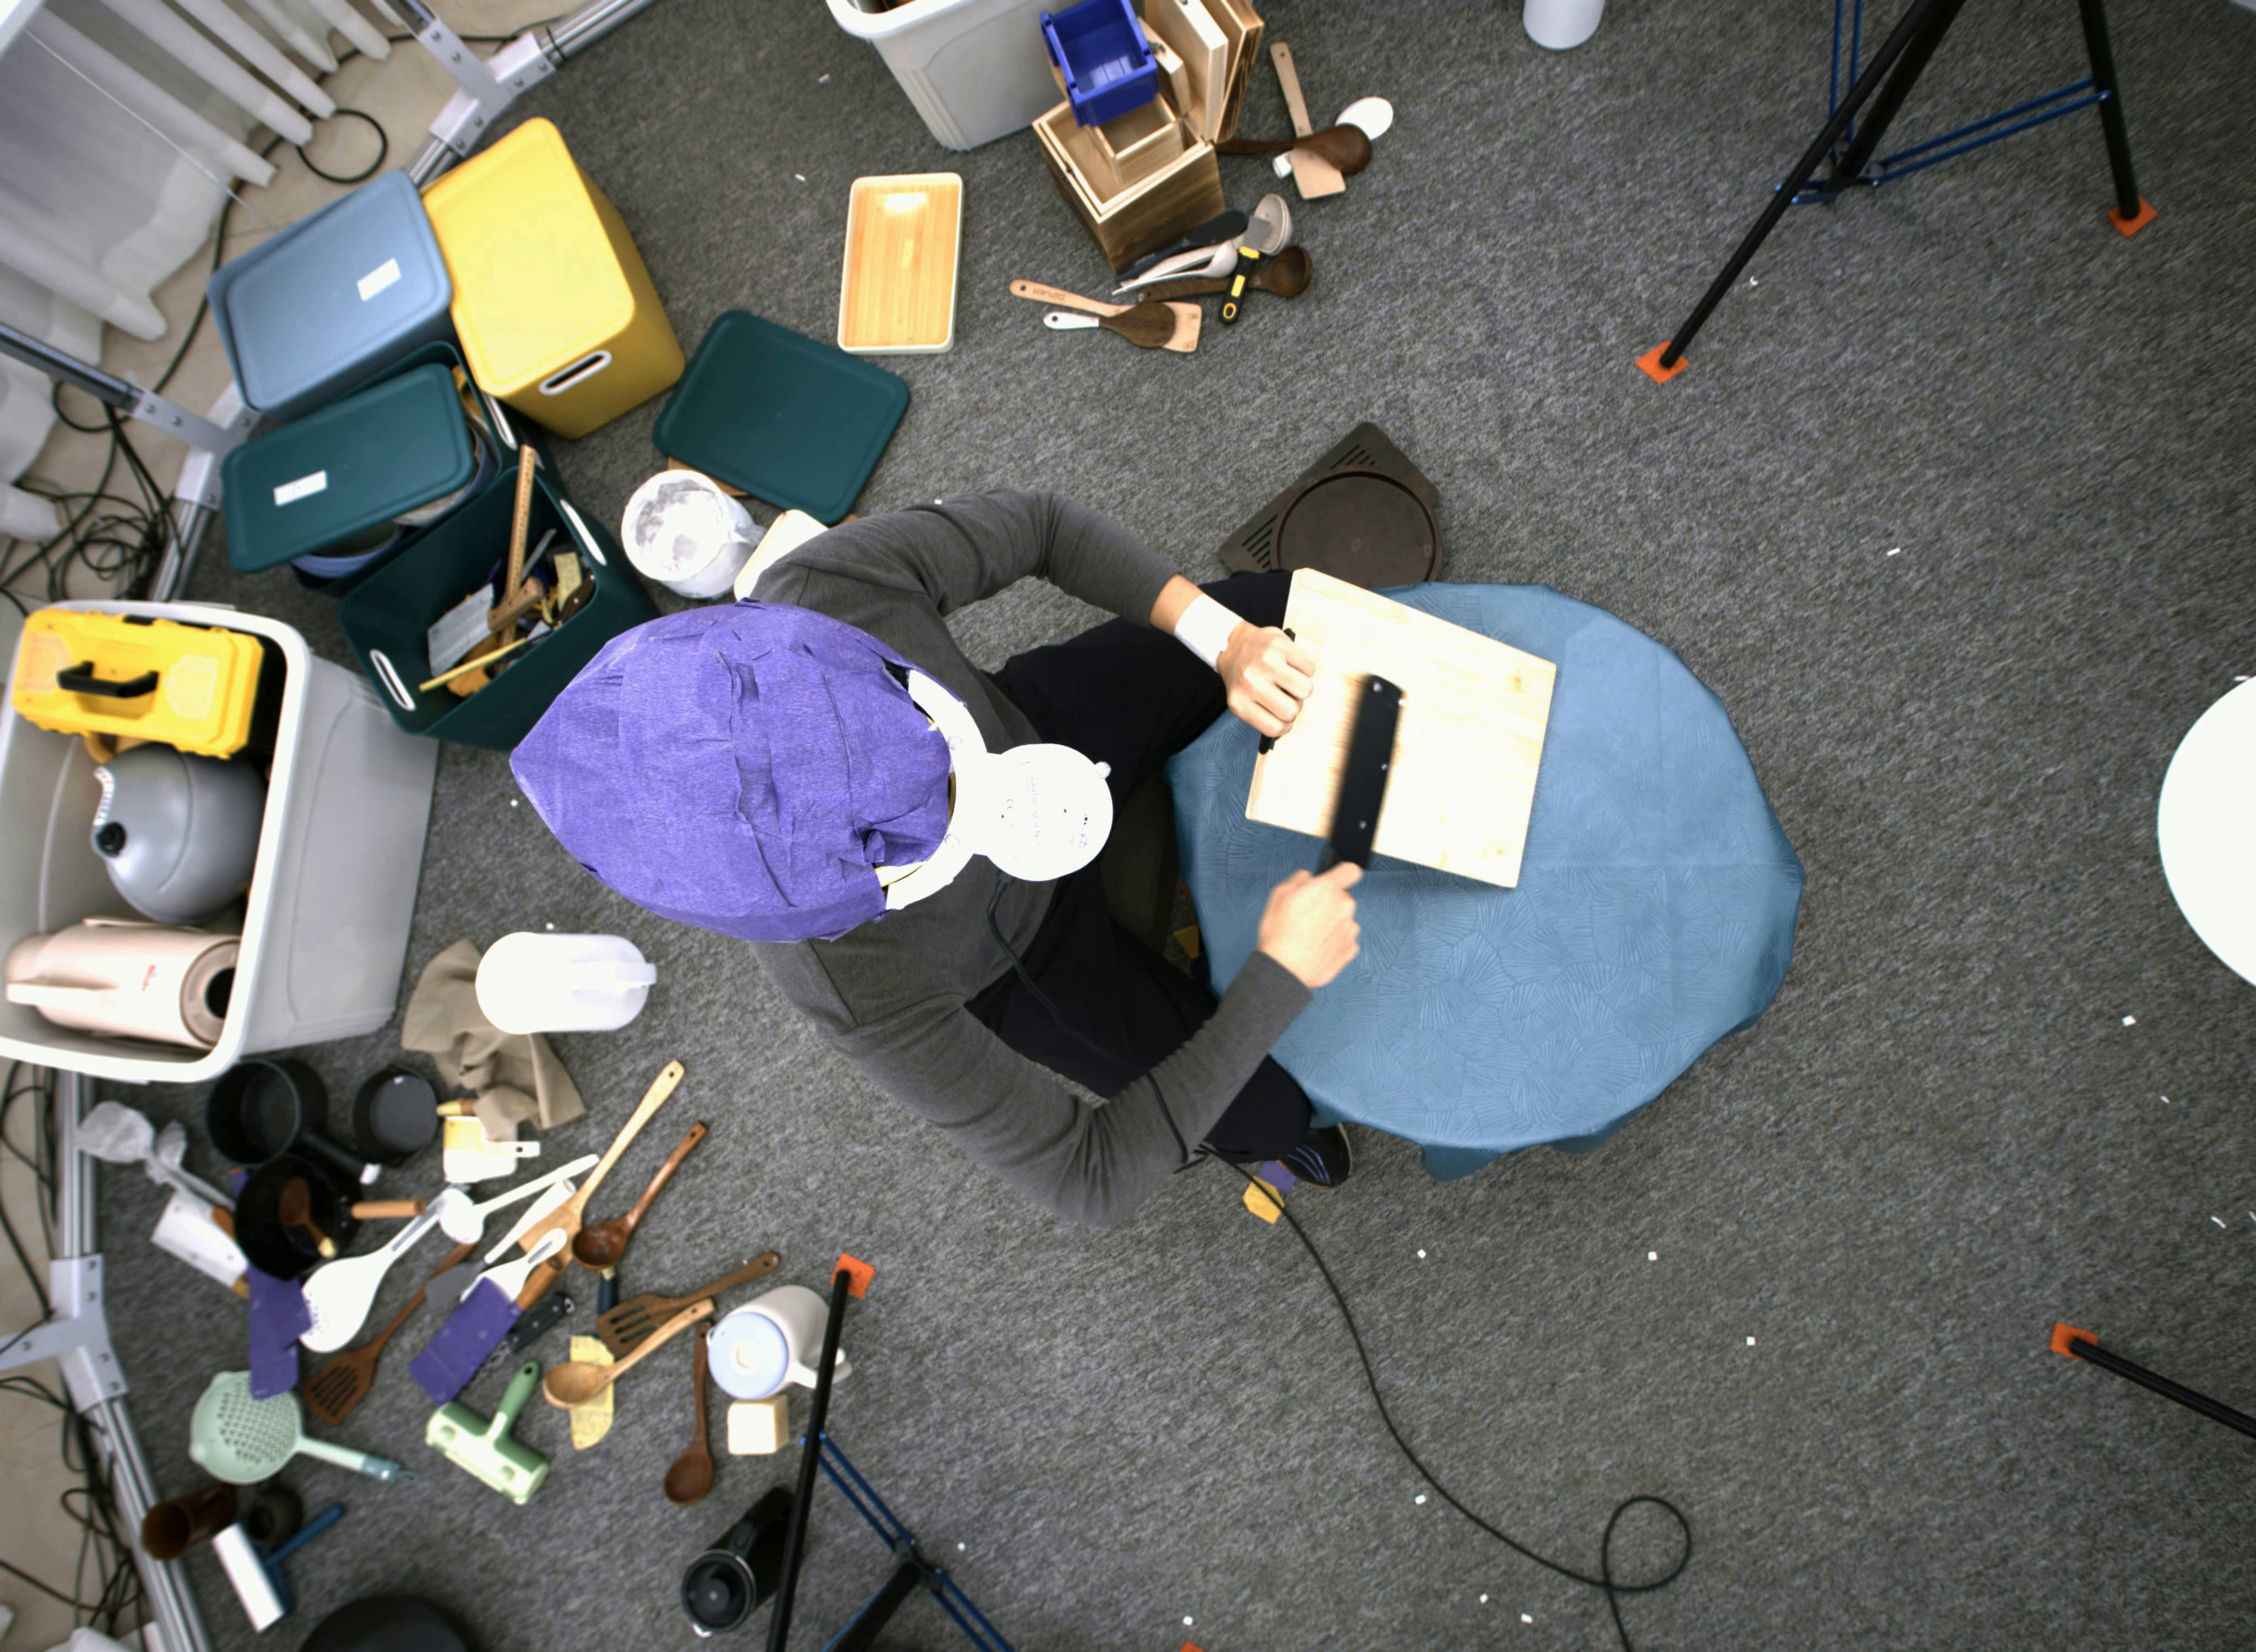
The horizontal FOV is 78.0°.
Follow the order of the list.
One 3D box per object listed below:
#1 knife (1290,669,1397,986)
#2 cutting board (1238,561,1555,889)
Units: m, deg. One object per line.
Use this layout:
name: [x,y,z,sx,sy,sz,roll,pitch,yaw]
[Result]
knife: [0.203,0.001,1.297,0.021,0.081,0.301,11,83,50]
cutting board: [0.273,-0.091,1.347,0.348,0.023,0.250,12,88,-30]
